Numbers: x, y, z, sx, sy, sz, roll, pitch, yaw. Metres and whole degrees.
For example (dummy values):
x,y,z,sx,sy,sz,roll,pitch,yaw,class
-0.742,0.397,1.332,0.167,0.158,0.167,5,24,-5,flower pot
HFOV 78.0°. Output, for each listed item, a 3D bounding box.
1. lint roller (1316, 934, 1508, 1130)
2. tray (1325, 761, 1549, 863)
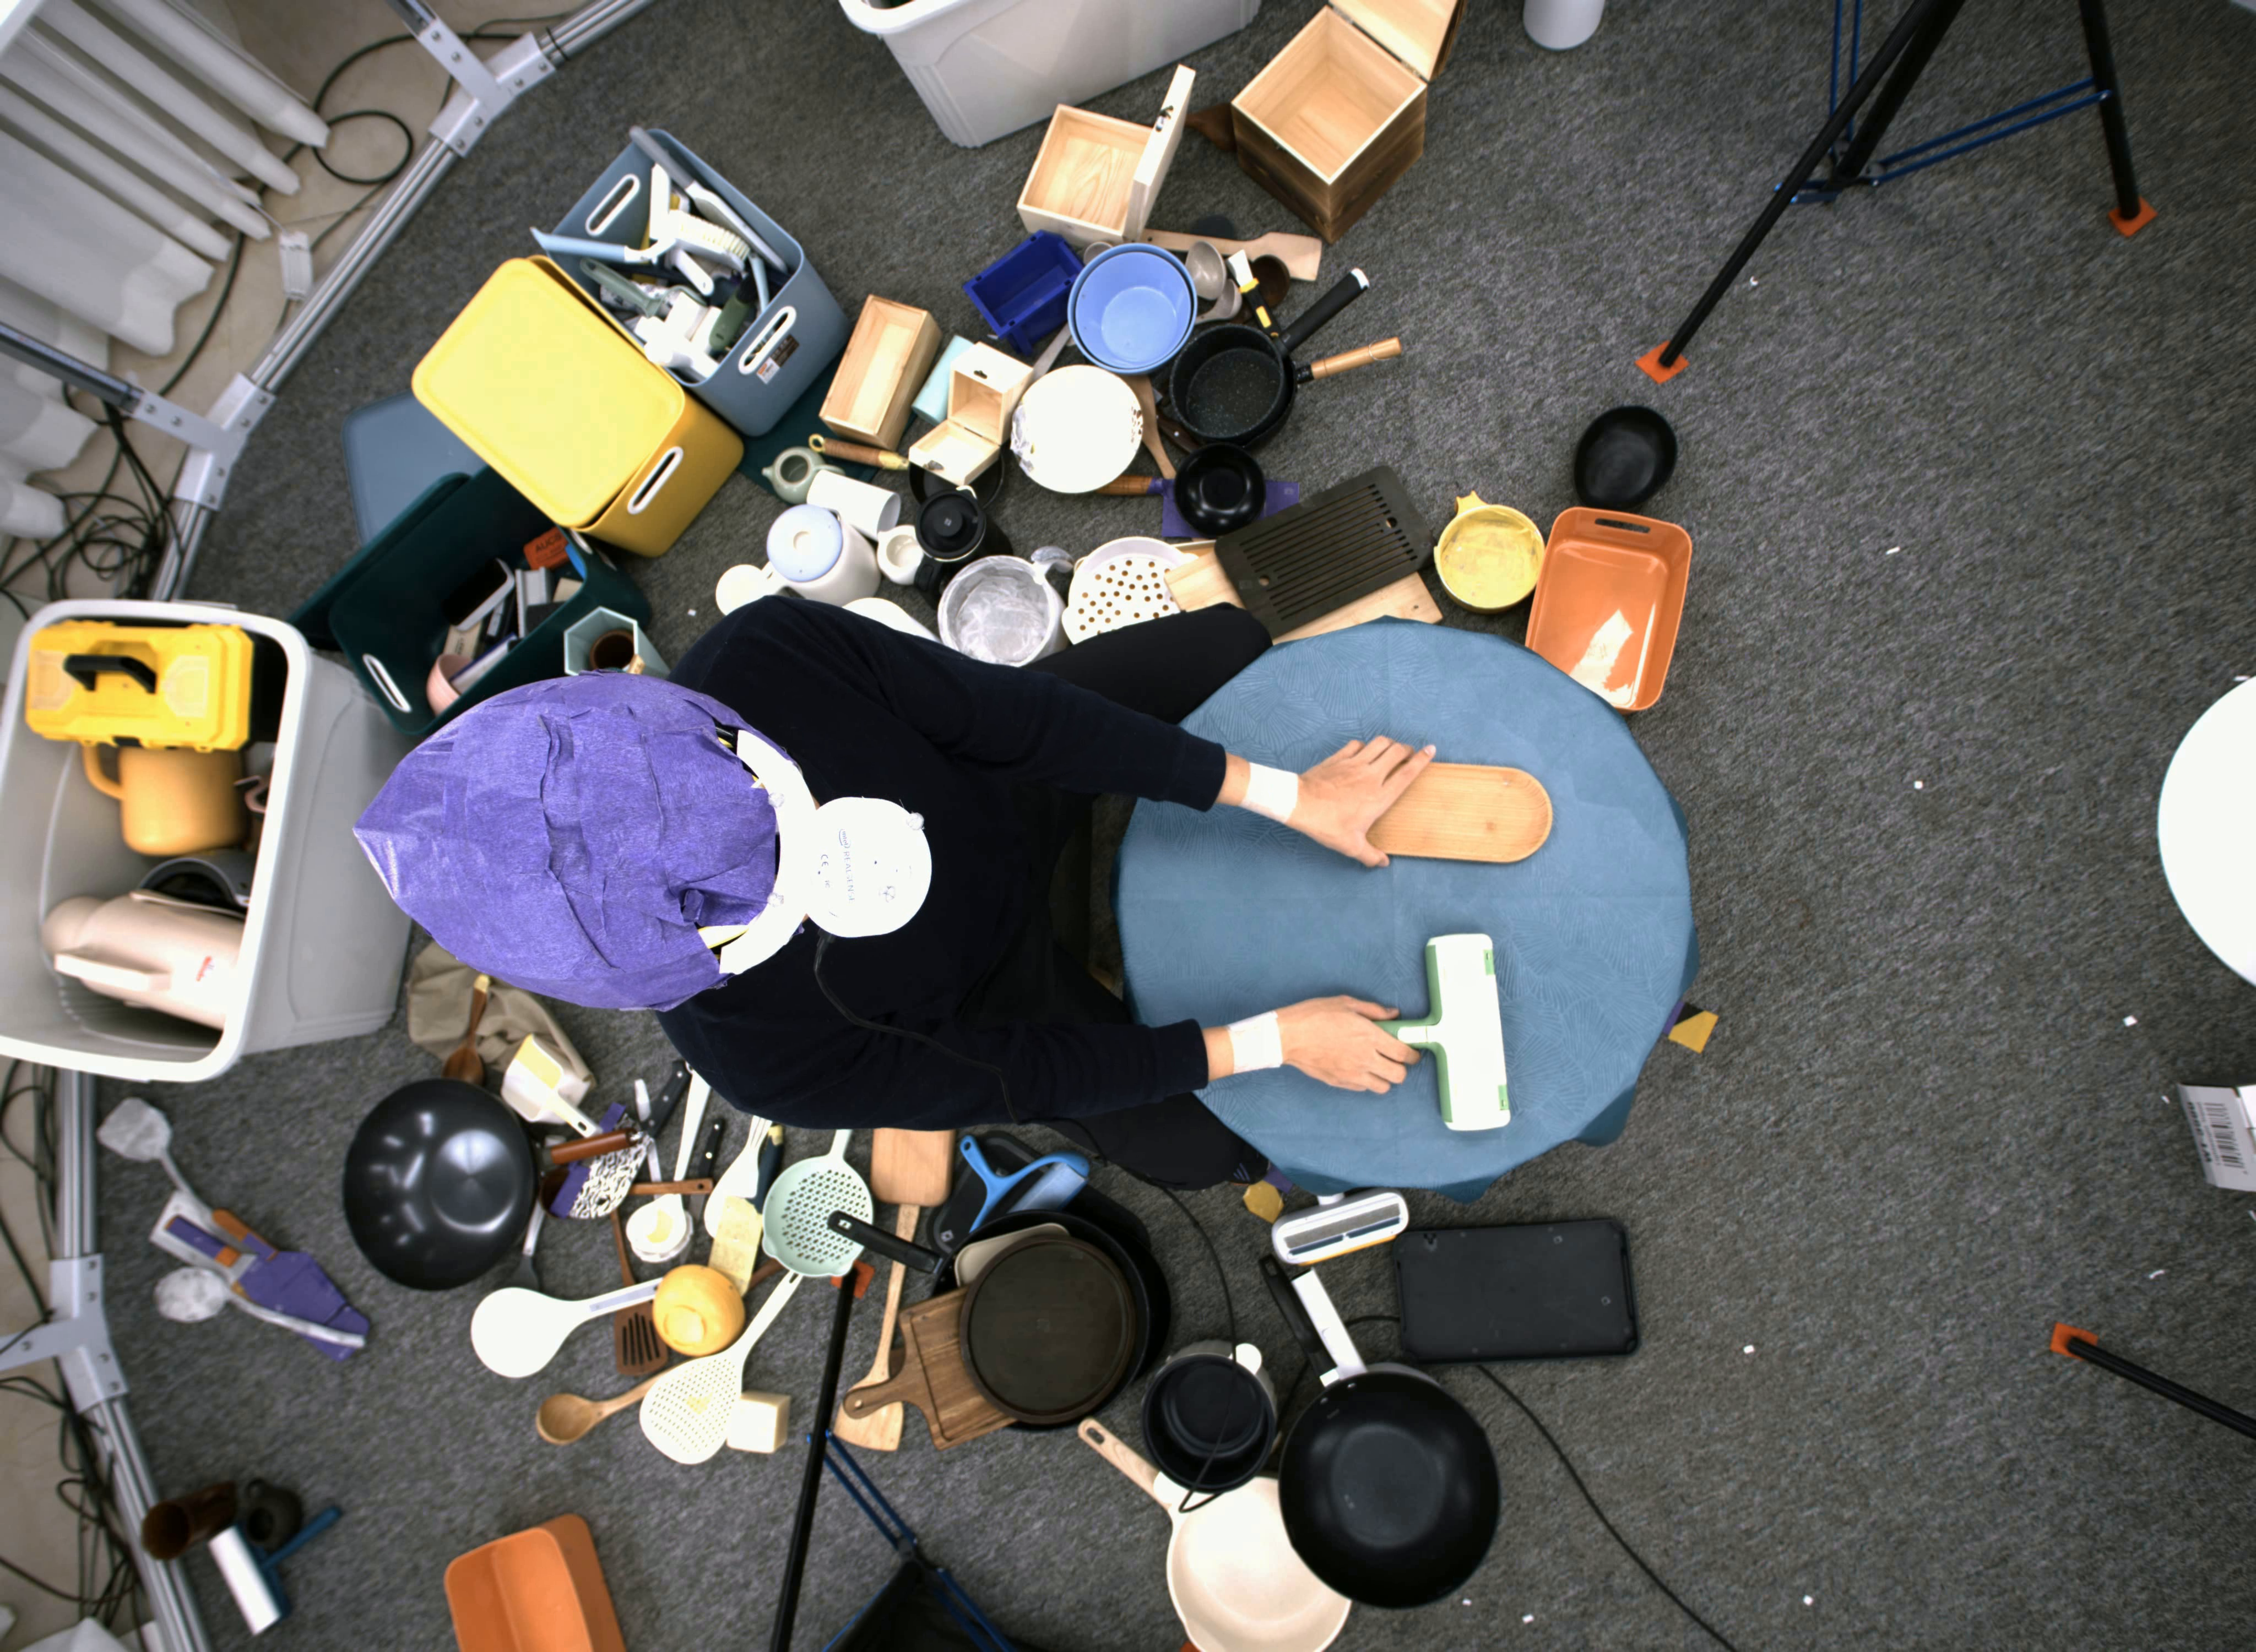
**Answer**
x,y,z,sx,sy,sz,roll,pitch,yaw,class
0.285,0.212,1.405,0.184,0.082,0.197,-6,85,4,lint roller
0.324,-0.016,1.446,0.232,0.020,0.101,3,86,12,tray
